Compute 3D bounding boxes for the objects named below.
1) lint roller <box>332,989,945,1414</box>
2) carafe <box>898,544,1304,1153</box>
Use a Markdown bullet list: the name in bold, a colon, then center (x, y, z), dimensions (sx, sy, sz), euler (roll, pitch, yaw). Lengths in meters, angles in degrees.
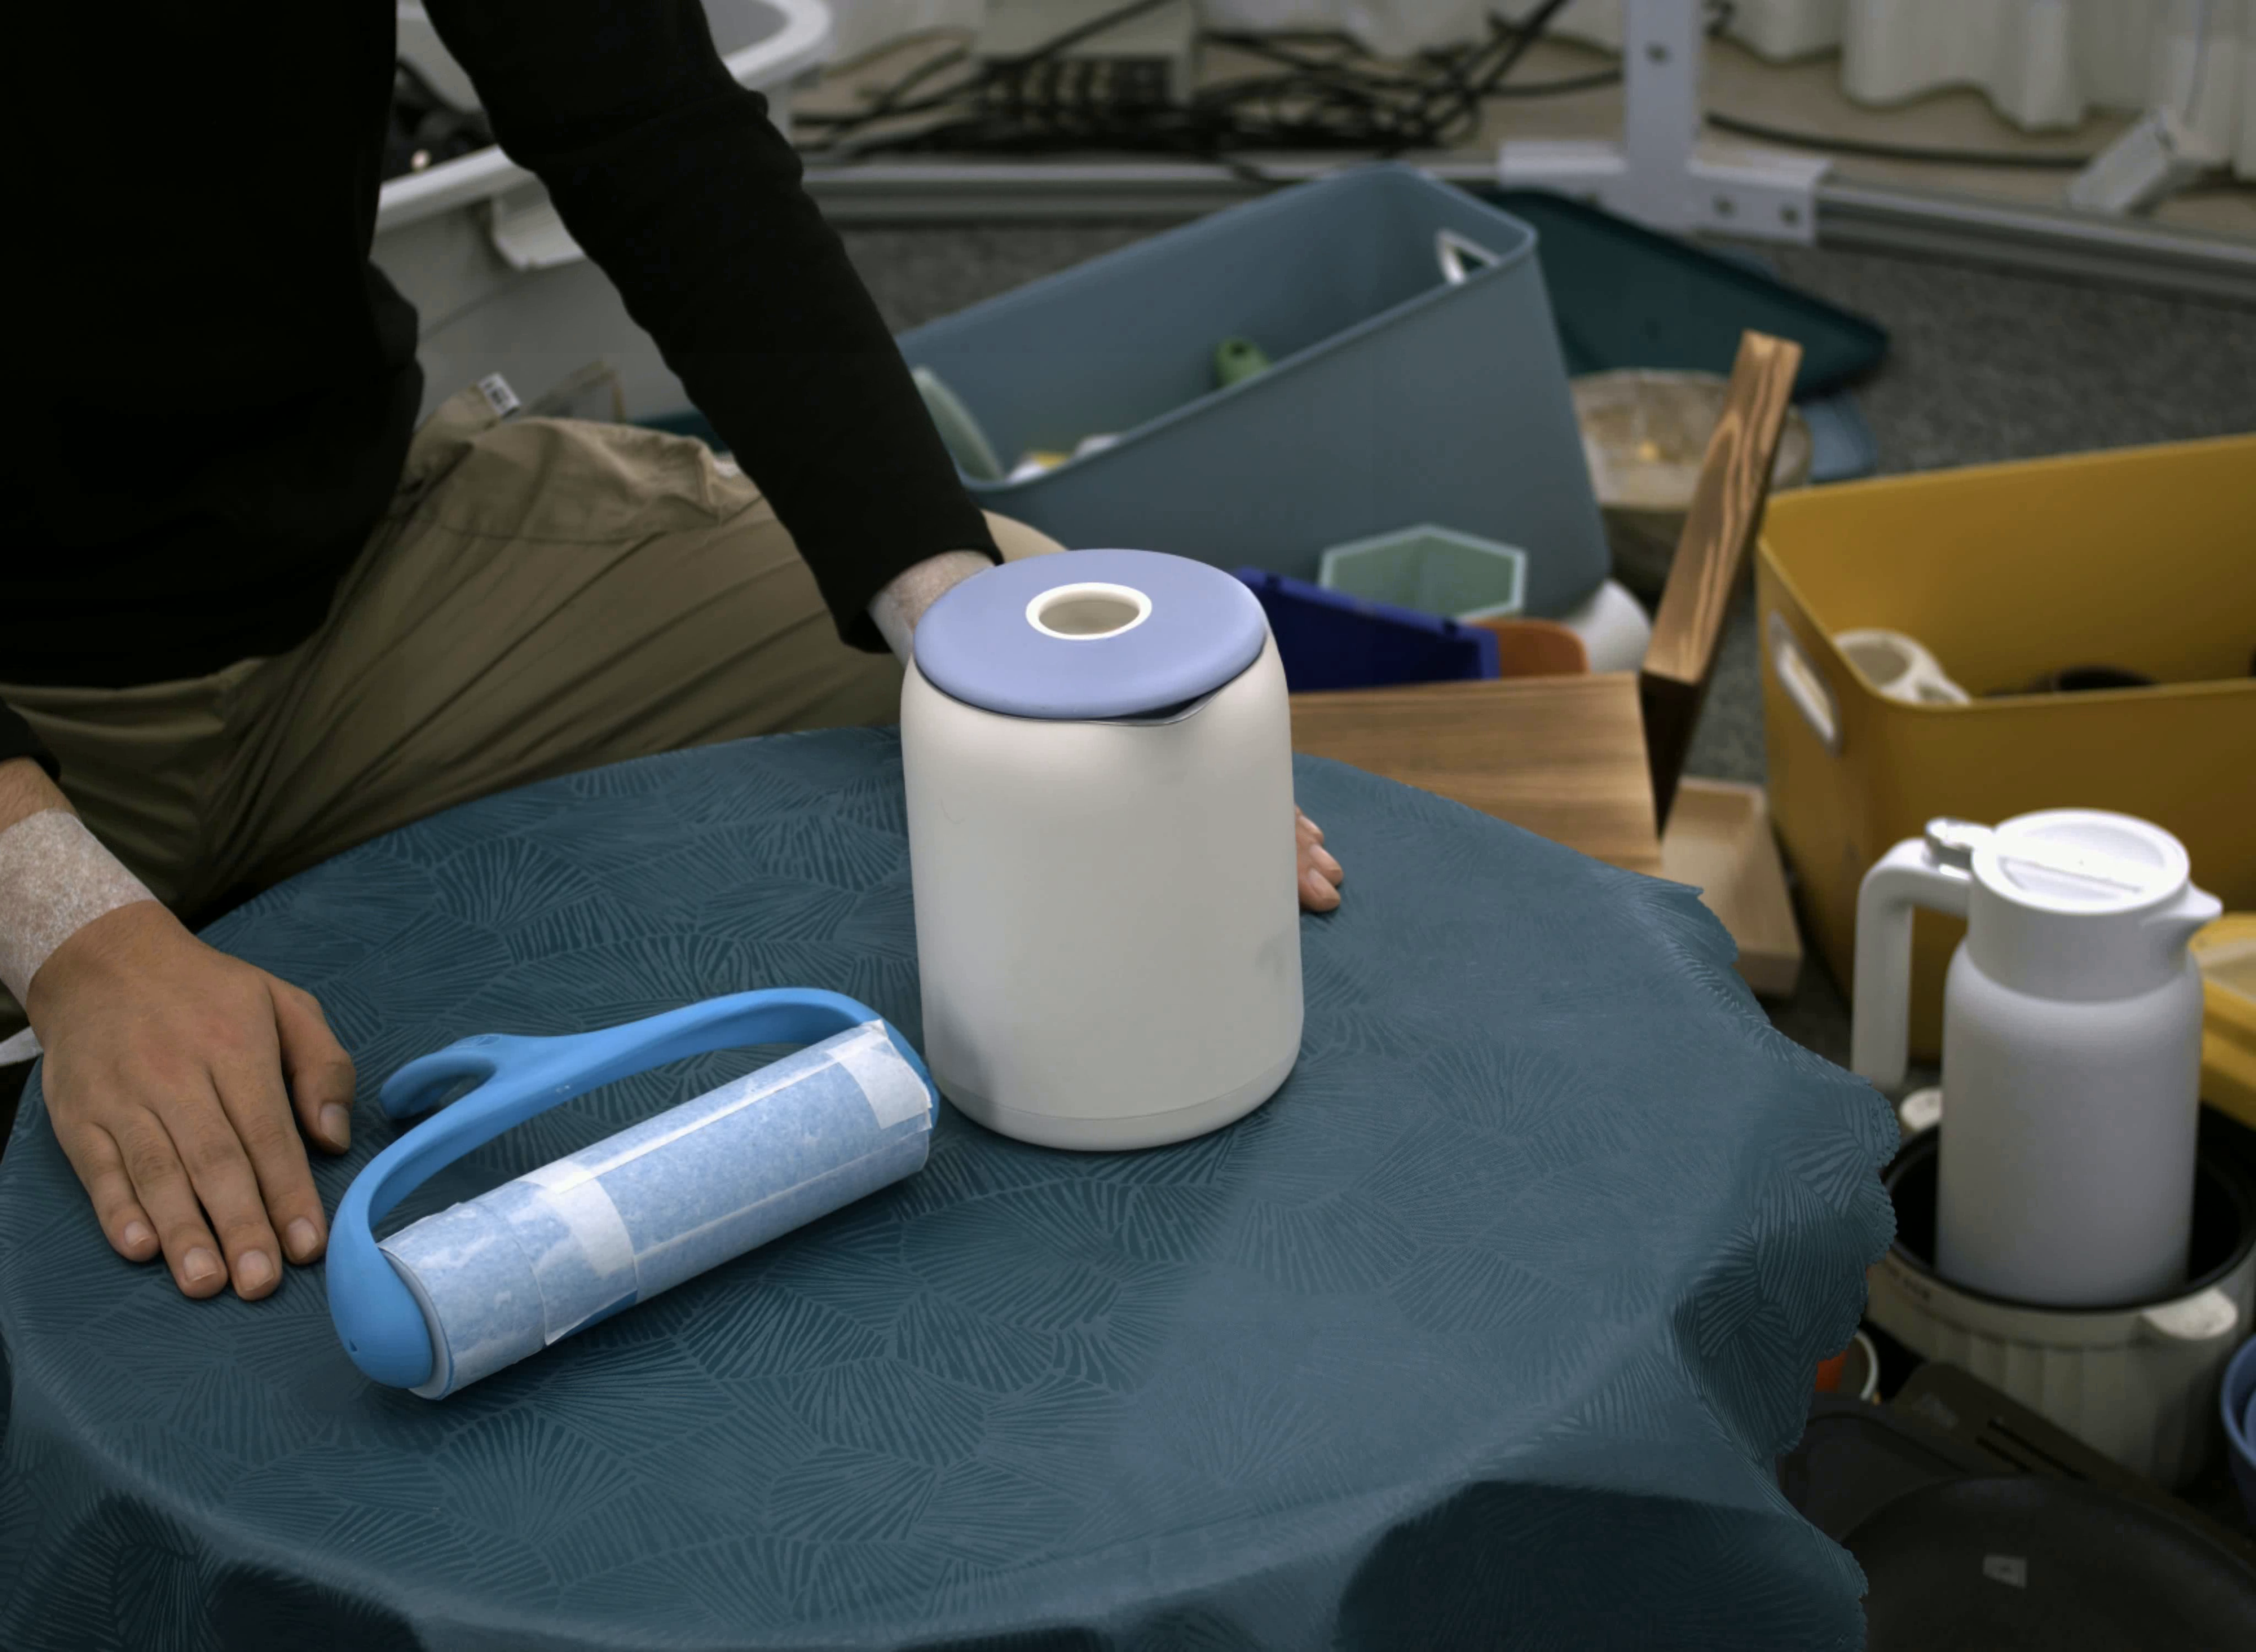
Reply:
- **lint roller**: center (-0.193, 0.102, 1.854), dimensions (0.231, 0.067, 0.180), euler (-27, 42, -34)
- **carafe**: center (-0.019, -0.002, 1.918), dimensions (0.133, 0.181, 0.192), euler (-14, 27, -22)
